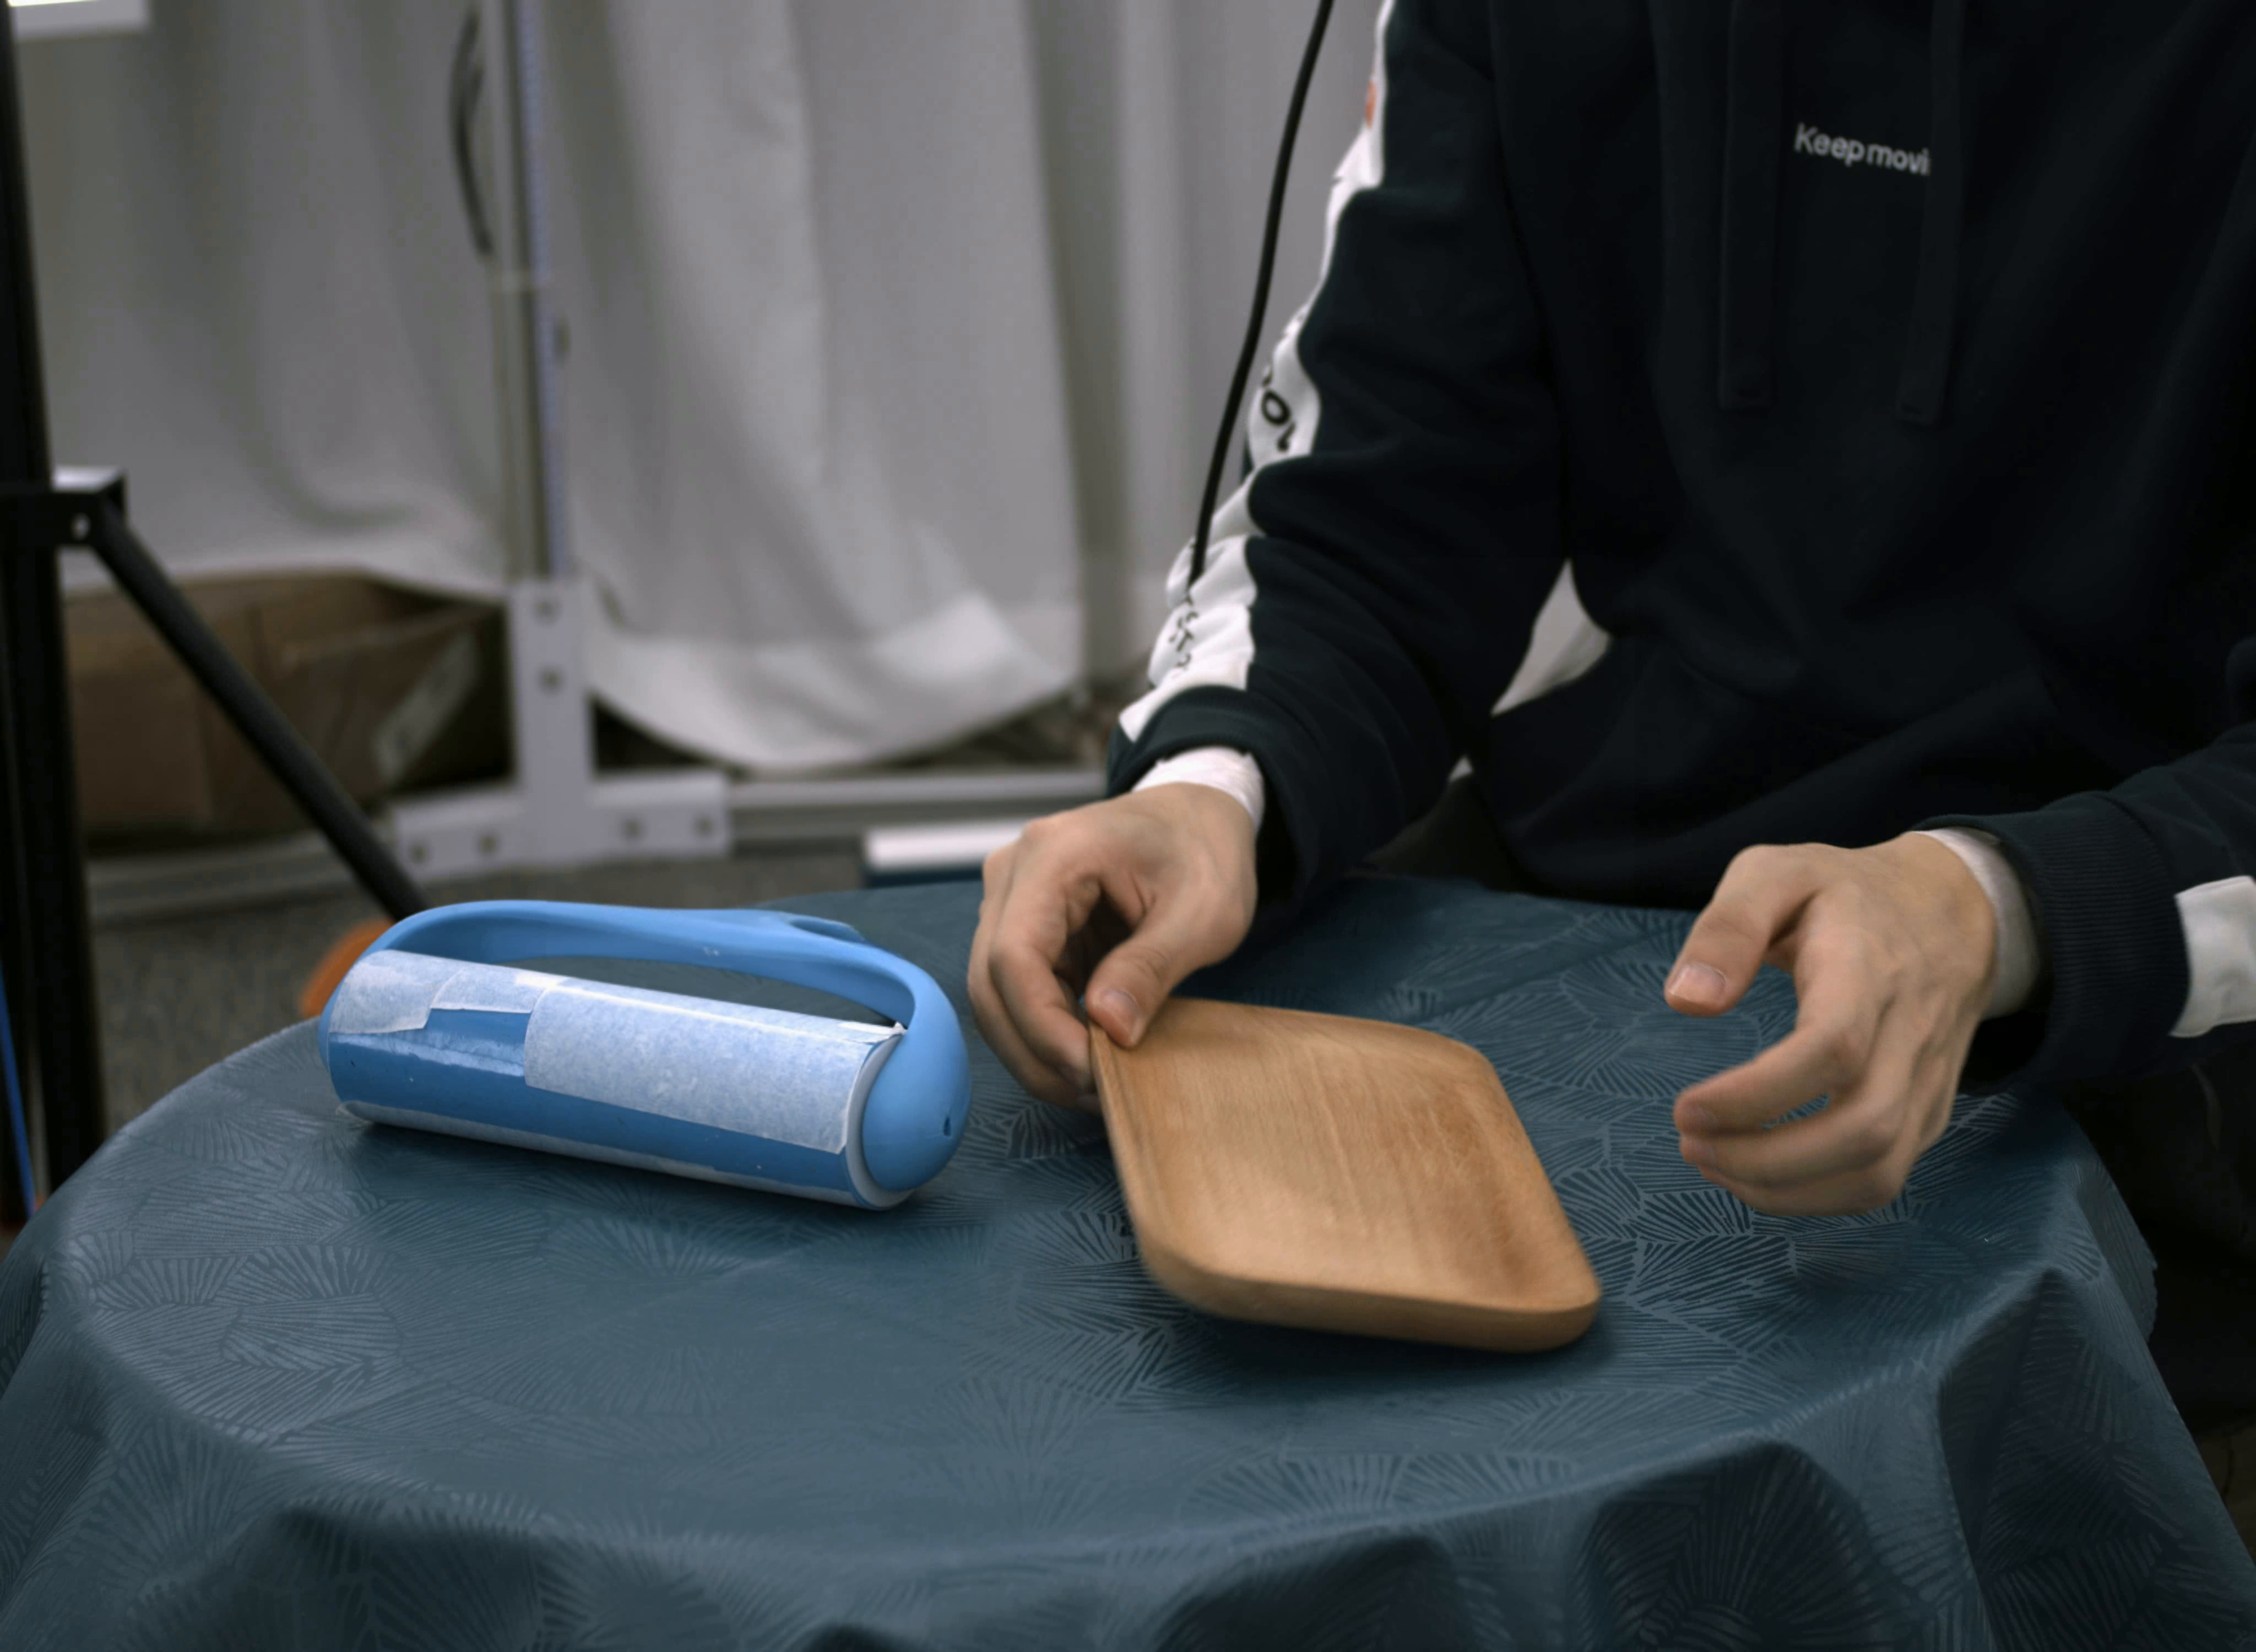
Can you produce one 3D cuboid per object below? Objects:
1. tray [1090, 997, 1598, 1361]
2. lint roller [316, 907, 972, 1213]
[{"bbox_3d":[0.057,0.098,1.516,0.129,0.023,0.252,9,14,-5],"label":"tray"},{"bbox_3d":[-0.121,0.059,1.648,0.233,0.068,0.177,5,18,30],"label":"lint roller"}]
